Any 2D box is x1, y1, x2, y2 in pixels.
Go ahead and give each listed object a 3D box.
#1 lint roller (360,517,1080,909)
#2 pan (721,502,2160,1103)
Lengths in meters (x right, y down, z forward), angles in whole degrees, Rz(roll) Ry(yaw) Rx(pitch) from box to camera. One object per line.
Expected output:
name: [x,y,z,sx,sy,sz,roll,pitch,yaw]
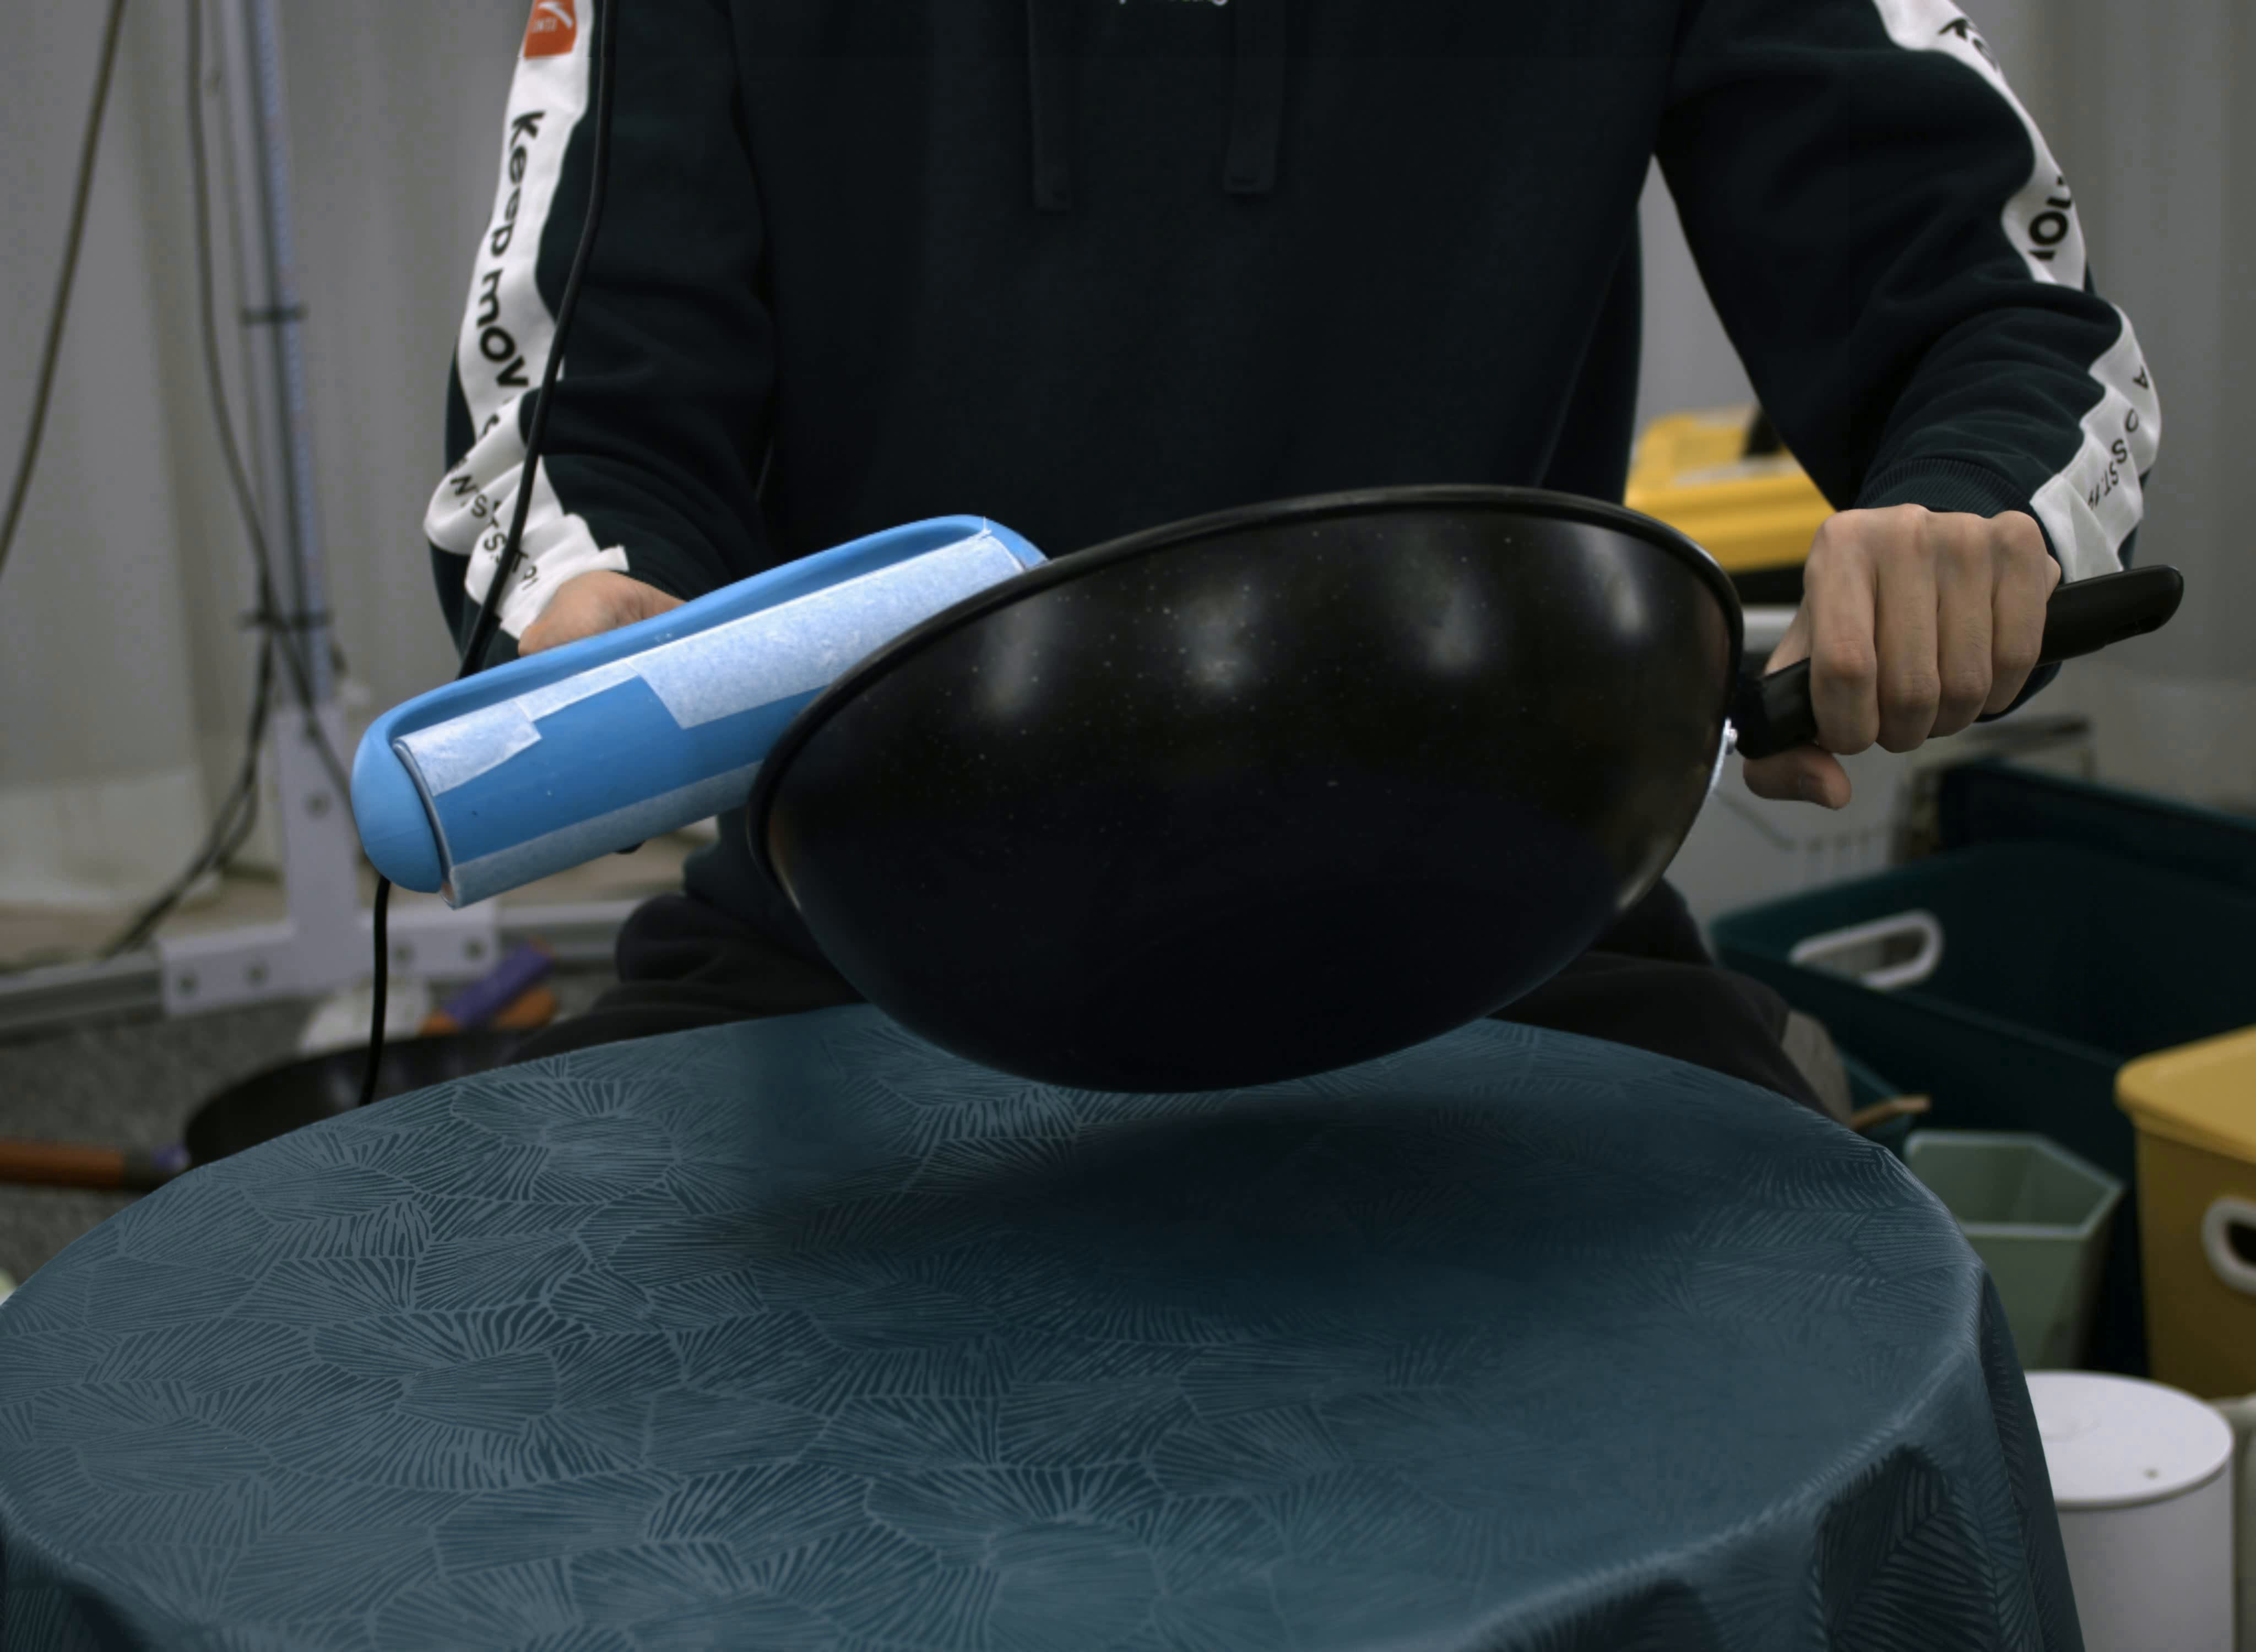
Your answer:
lint roller: [-0.140,-0.033,1.687,0.228,0.068,0.180,-22,7,-20]
pan: [0.114,-0.006,1.667,0.474,0.113,0.307,-5,-23,-18]
